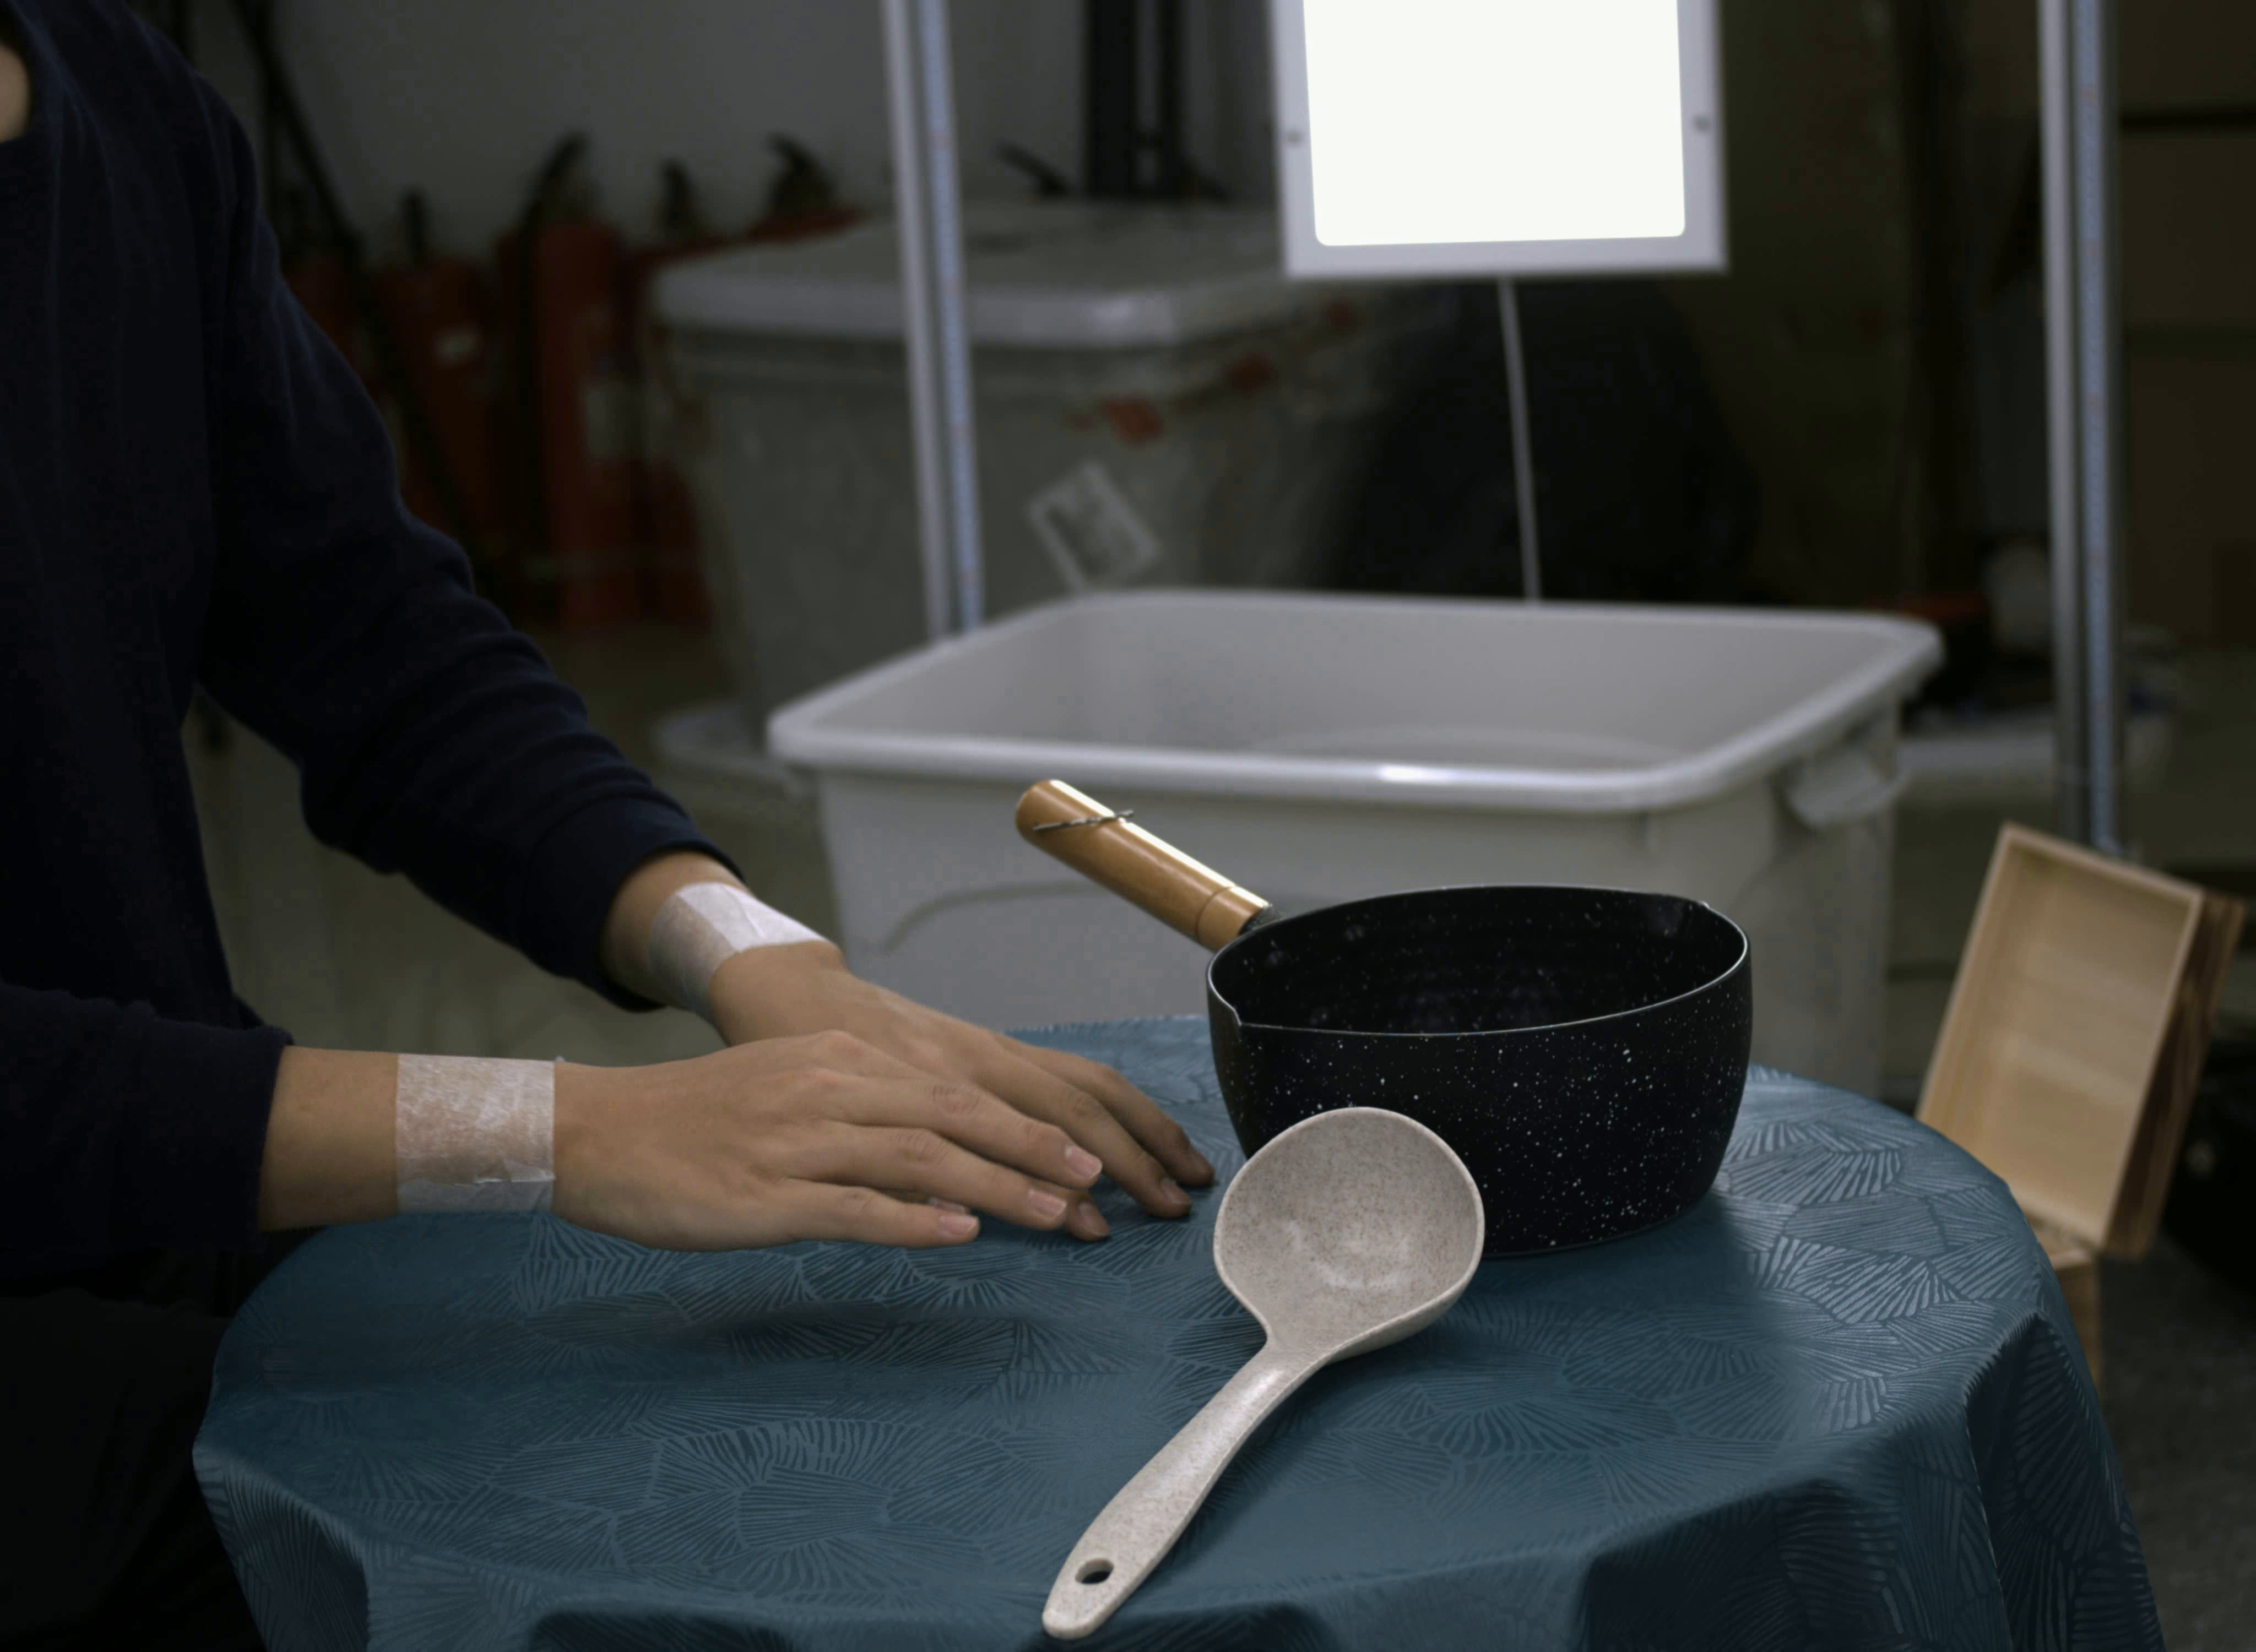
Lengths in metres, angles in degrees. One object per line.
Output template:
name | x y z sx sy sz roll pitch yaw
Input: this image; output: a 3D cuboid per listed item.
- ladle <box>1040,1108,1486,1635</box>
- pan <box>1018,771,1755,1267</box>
ladle | 0.031 0.155 1.627 0.090 0.070 0.269 7 17 21
pan | 0.071 0.060 1.913 0.202 0.108 0.350 -16 19 -35
